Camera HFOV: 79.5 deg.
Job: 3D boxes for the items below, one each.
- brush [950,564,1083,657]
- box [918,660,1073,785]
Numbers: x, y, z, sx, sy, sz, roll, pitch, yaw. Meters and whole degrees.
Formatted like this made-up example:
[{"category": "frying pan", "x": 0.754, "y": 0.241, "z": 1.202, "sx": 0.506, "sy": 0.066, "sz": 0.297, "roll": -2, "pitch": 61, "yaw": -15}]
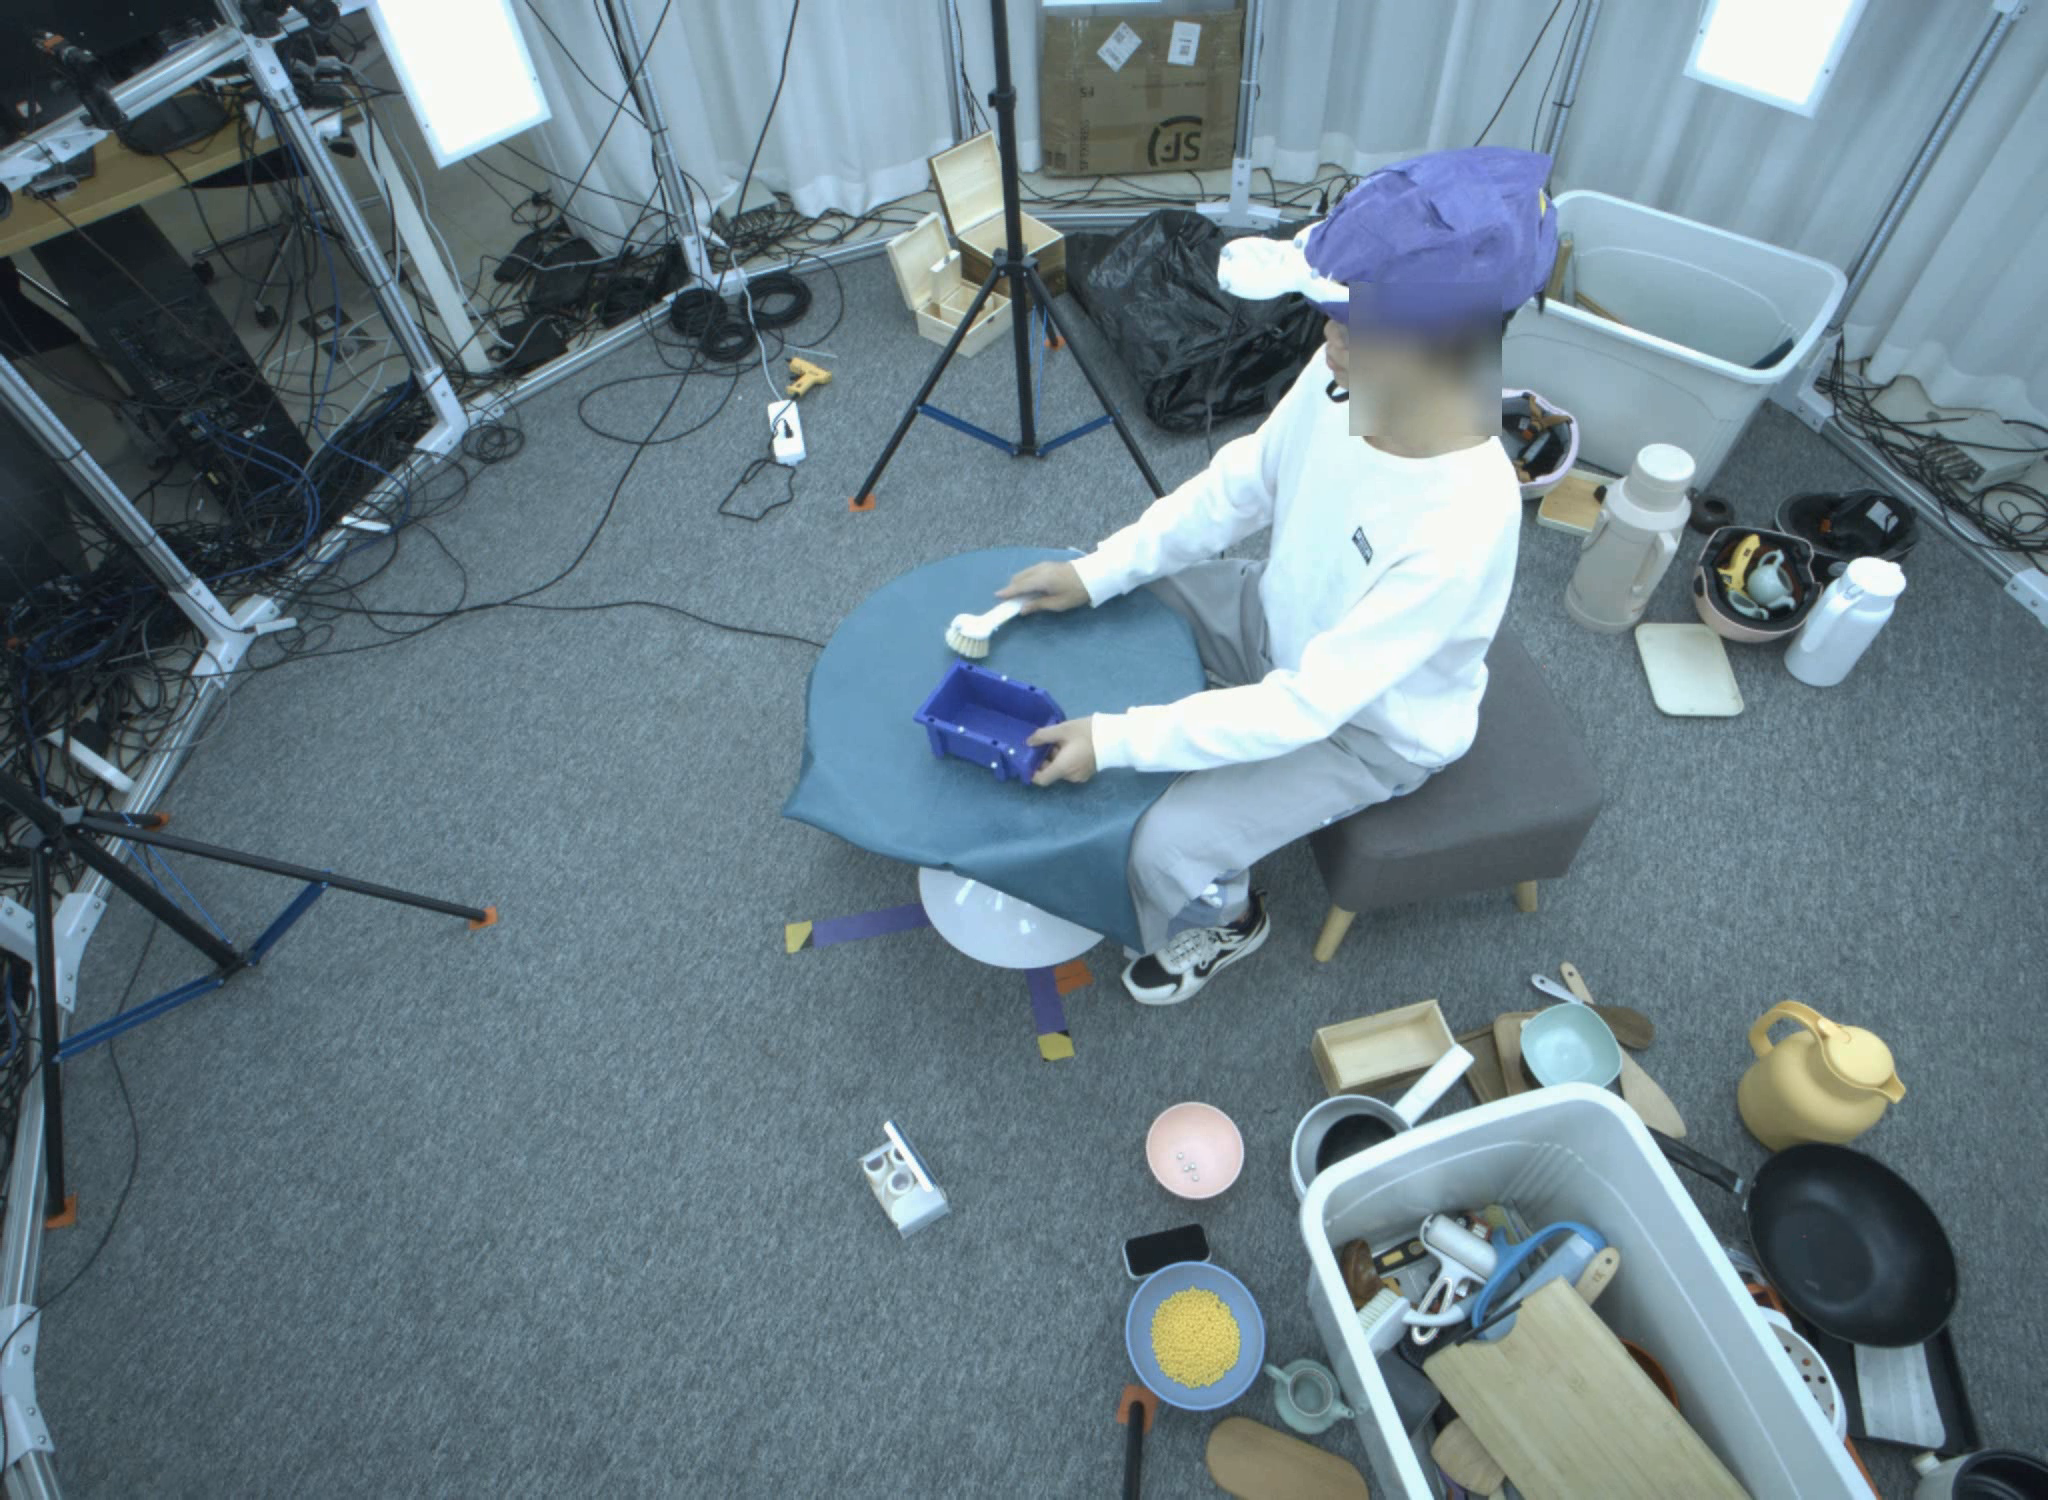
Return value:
[{"category": "brush", "x": -0.008, "y": -0.221, "z": 1.924, "sx": 0.269, "sy": 0.056, "sz": 0.067, "roll": -33, "pitch": 69, "yaw": -35}, {"category": "box", "x": -0.037, "y": -0.037, "z": 1.751, "sx": 0.176, "sy": 0.083, "sz": 0.125, "roll": 20, "pitch": 57, "yaw": 22}]
